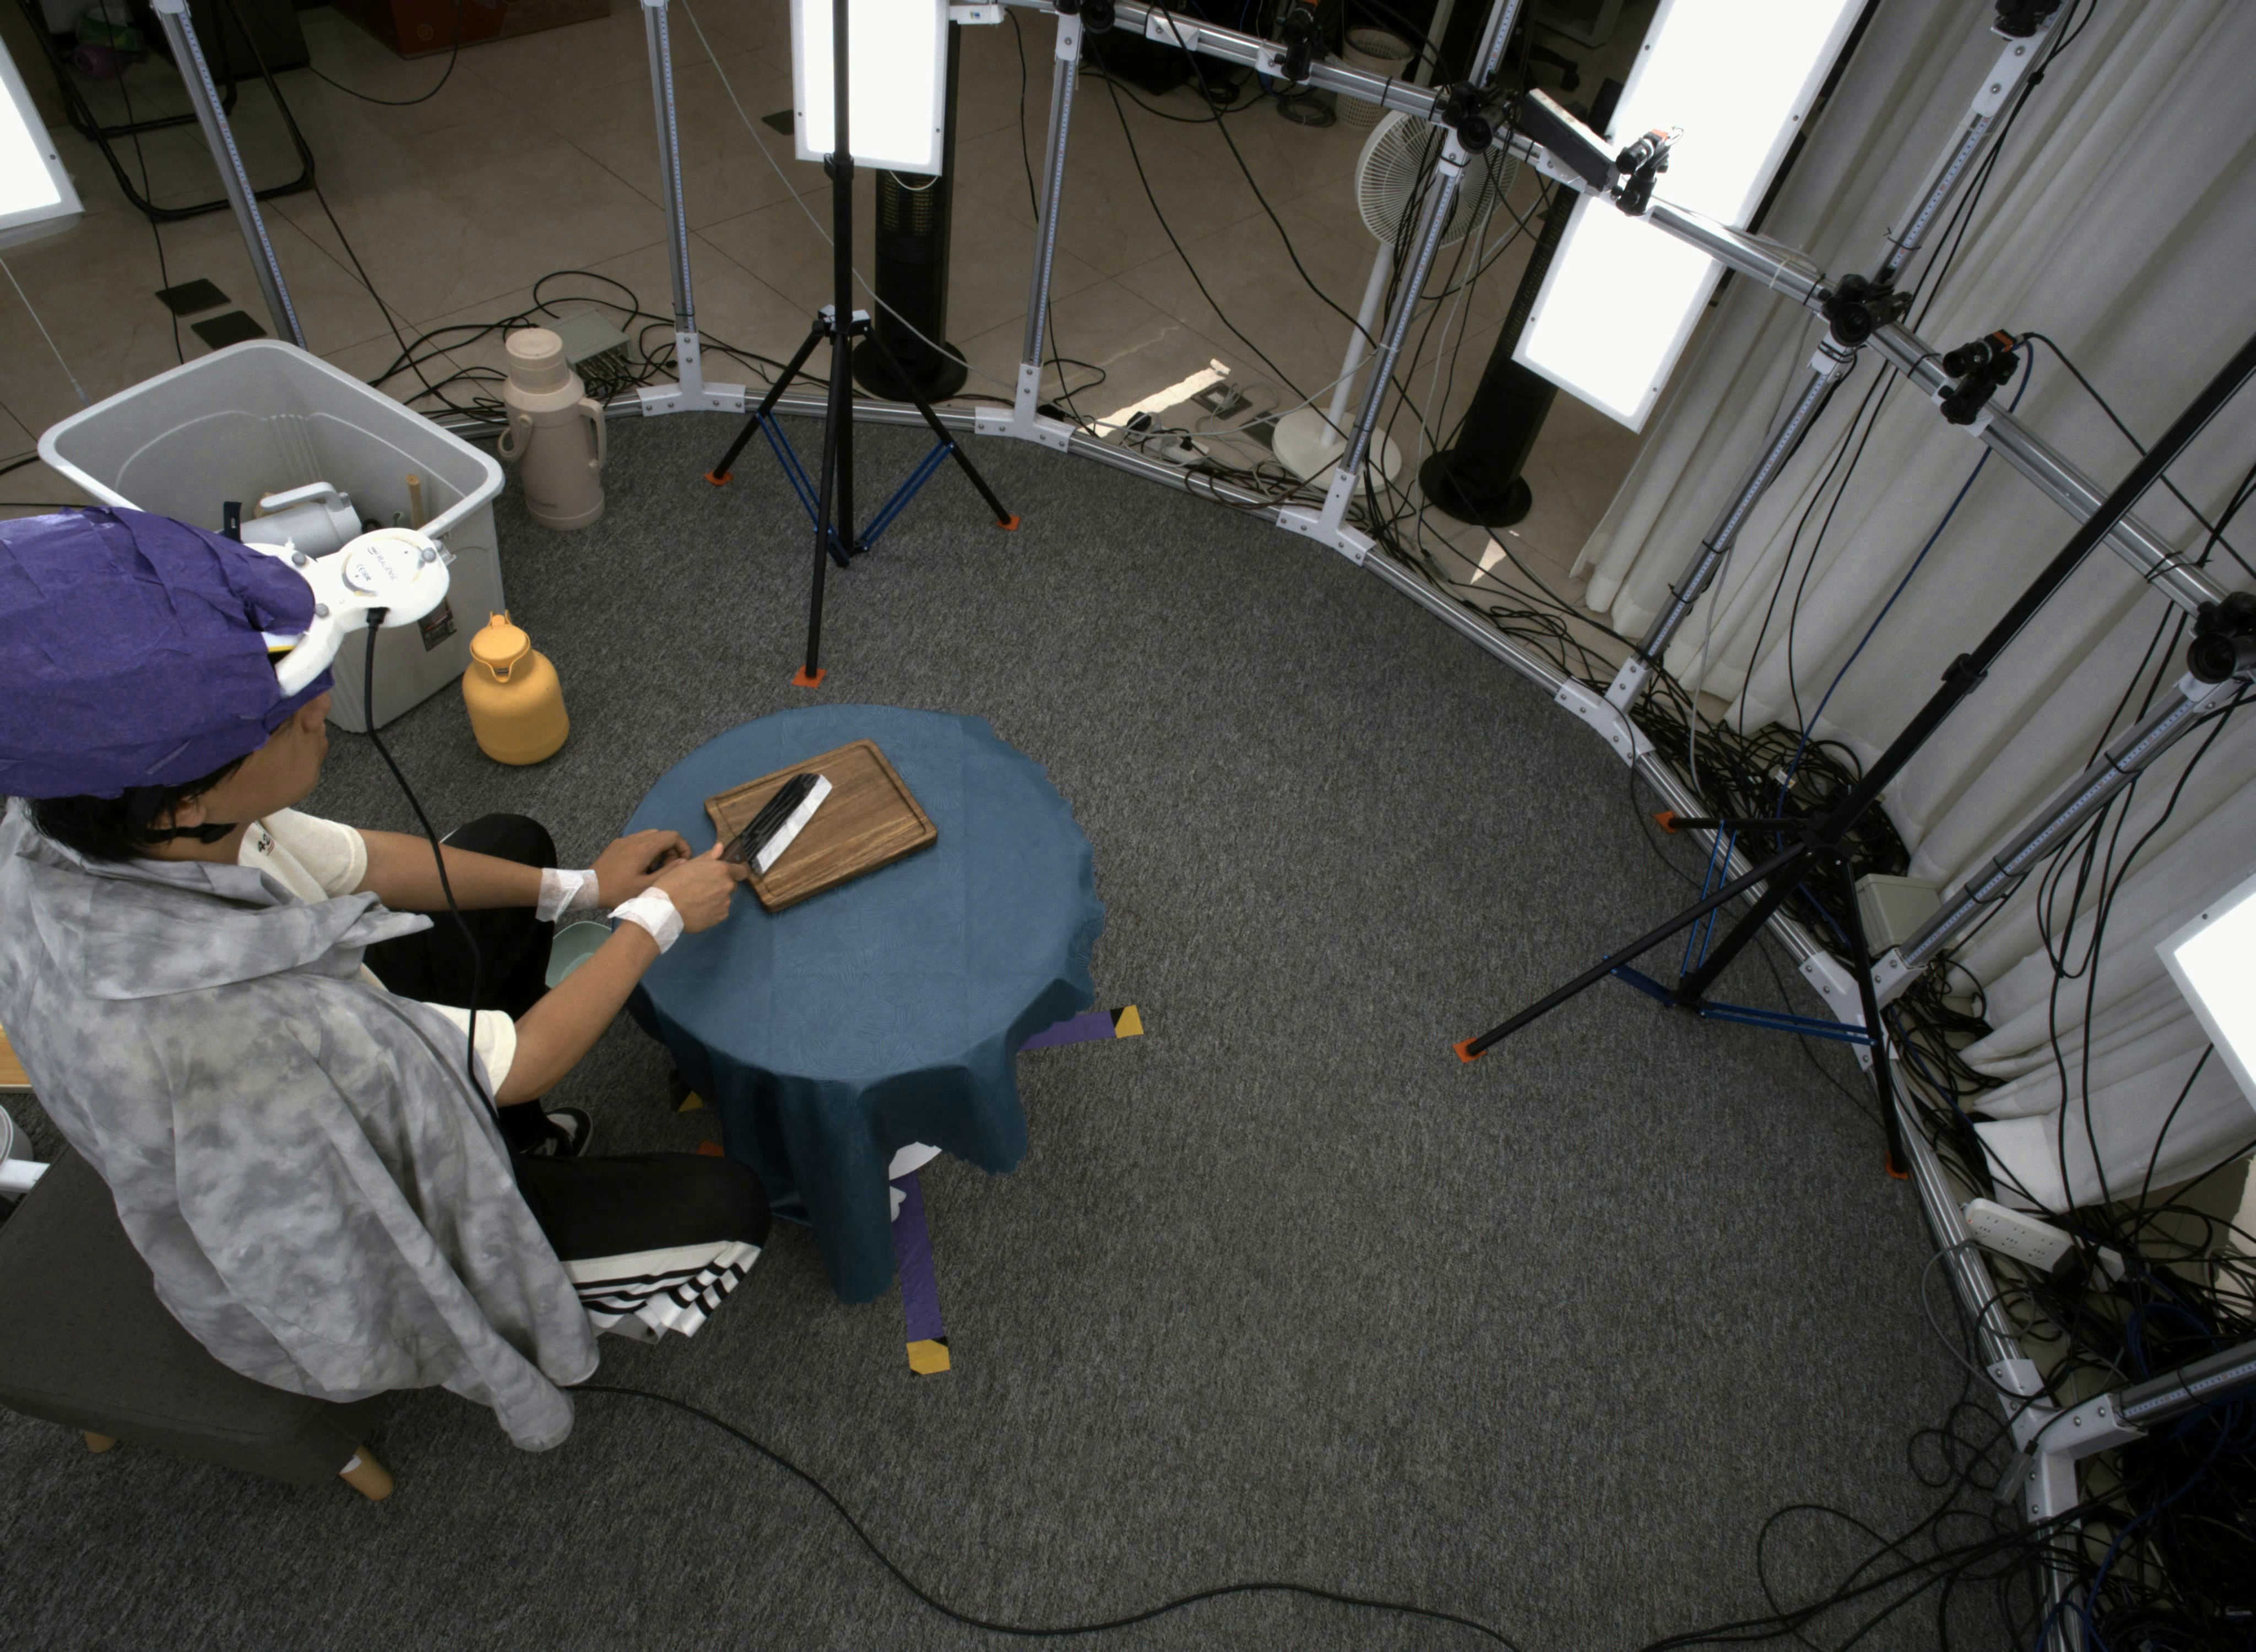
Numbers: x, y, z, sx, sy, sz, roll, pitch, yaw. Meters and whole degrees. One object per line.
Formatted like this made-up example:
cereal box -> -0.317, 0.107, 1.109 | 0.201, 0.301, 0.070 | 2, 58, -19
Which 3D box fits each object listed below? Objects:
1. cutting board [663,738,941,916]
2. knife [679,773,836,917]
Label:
cutting board -> -0.442, 0.012, 1.699 | 0.353, 0.023, 0.196 | -25, 63, -28
knife -> -0.458, 0.023, 1.626 | 0.023, 0.071, 0.298 | 5, 42, 28
